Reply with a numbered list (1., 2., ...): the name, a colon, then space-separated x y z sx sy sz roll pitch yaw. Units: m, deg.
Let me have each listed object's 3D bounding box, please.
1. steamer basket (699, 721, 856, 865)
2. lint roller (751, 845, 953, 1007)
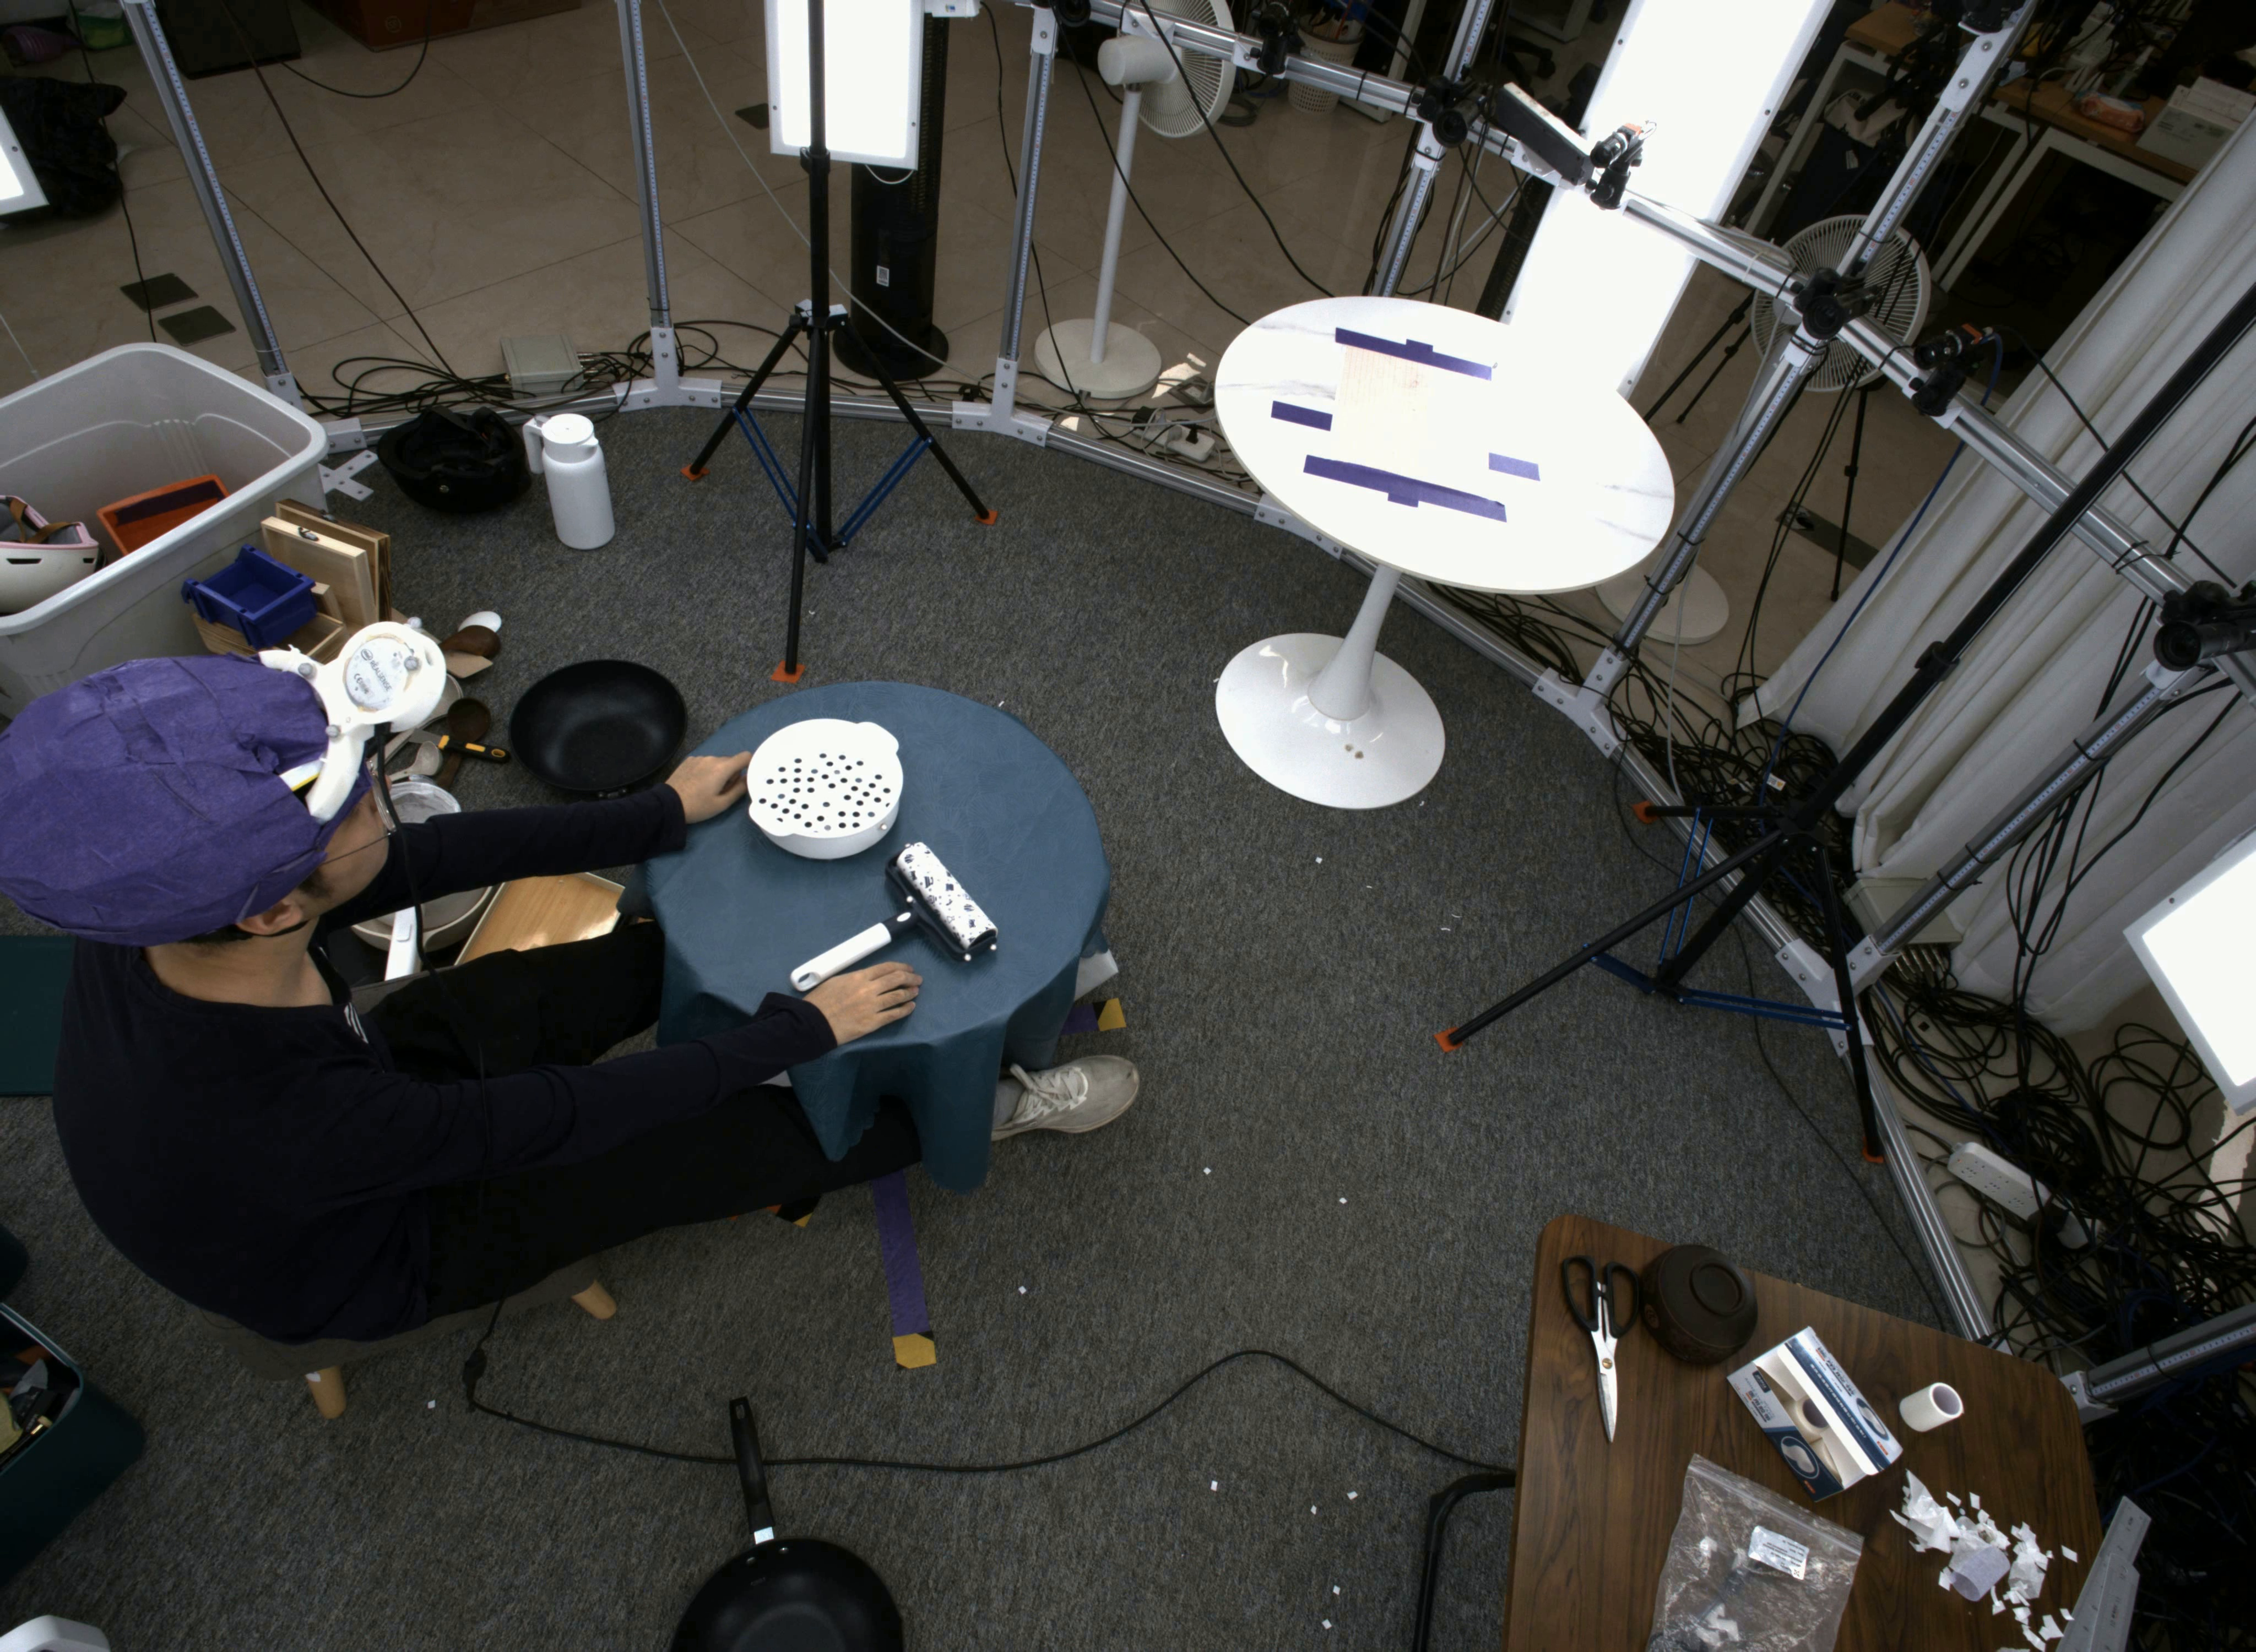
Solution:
1. steamer basket: -0.461 -0.043 1.716 0.198 0.071 0.230 33 56 12
2. lint roller: -0.362 0.143 1.620 0.247 0.051 0.172 -35 69 -29
